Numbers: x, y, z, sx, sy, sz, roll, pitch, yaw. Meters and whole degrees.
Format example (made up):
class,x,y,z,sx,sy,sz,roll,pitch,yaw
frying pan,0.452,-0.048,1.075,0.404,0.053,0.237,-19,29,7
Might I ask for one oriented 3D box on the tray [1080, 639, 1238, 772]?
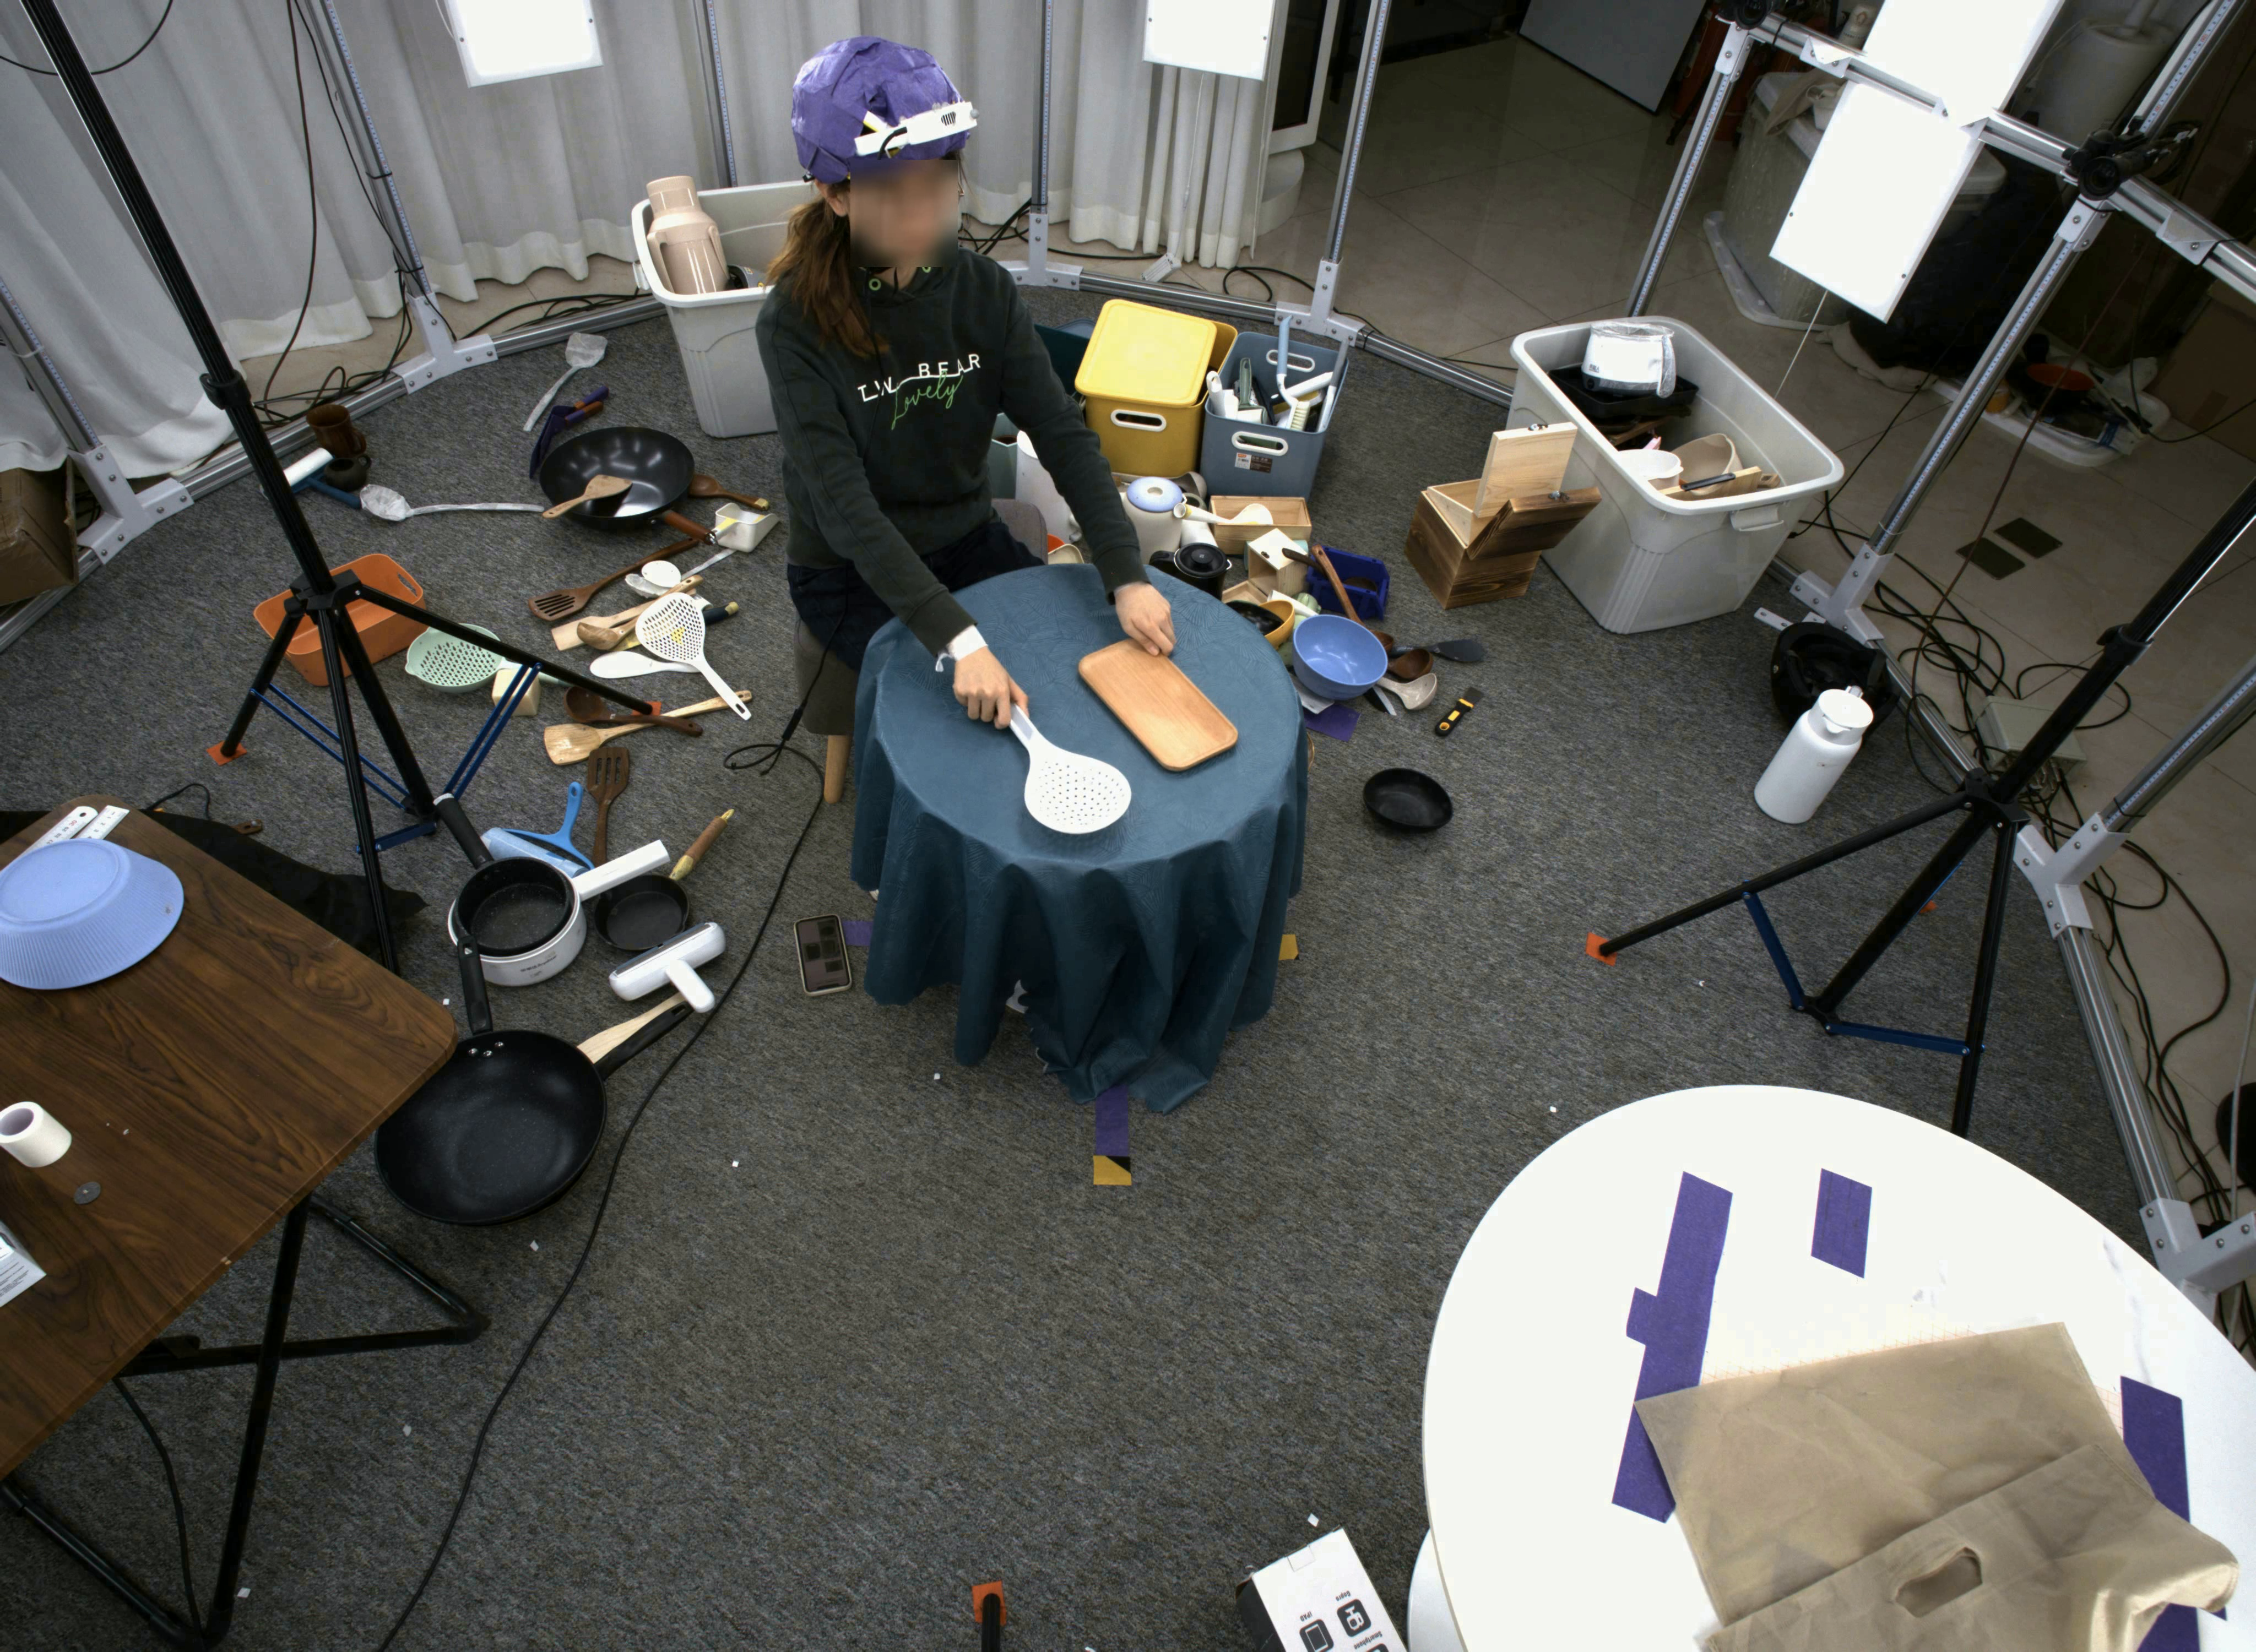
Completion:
class,x,y,z,sx,sy,sz,roll,pitch,yaw
tray,0.041,-0.175,1.828,0.131,0.022,0.256,-24,54,-25

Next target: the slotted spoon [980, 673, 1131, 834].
class,x,y,z,sx,sy,sz,roll,pitch,yaw
slotted spoon,-0.118,-0.103,1.736,0.136,0.044,0.357,-20,52,-21
